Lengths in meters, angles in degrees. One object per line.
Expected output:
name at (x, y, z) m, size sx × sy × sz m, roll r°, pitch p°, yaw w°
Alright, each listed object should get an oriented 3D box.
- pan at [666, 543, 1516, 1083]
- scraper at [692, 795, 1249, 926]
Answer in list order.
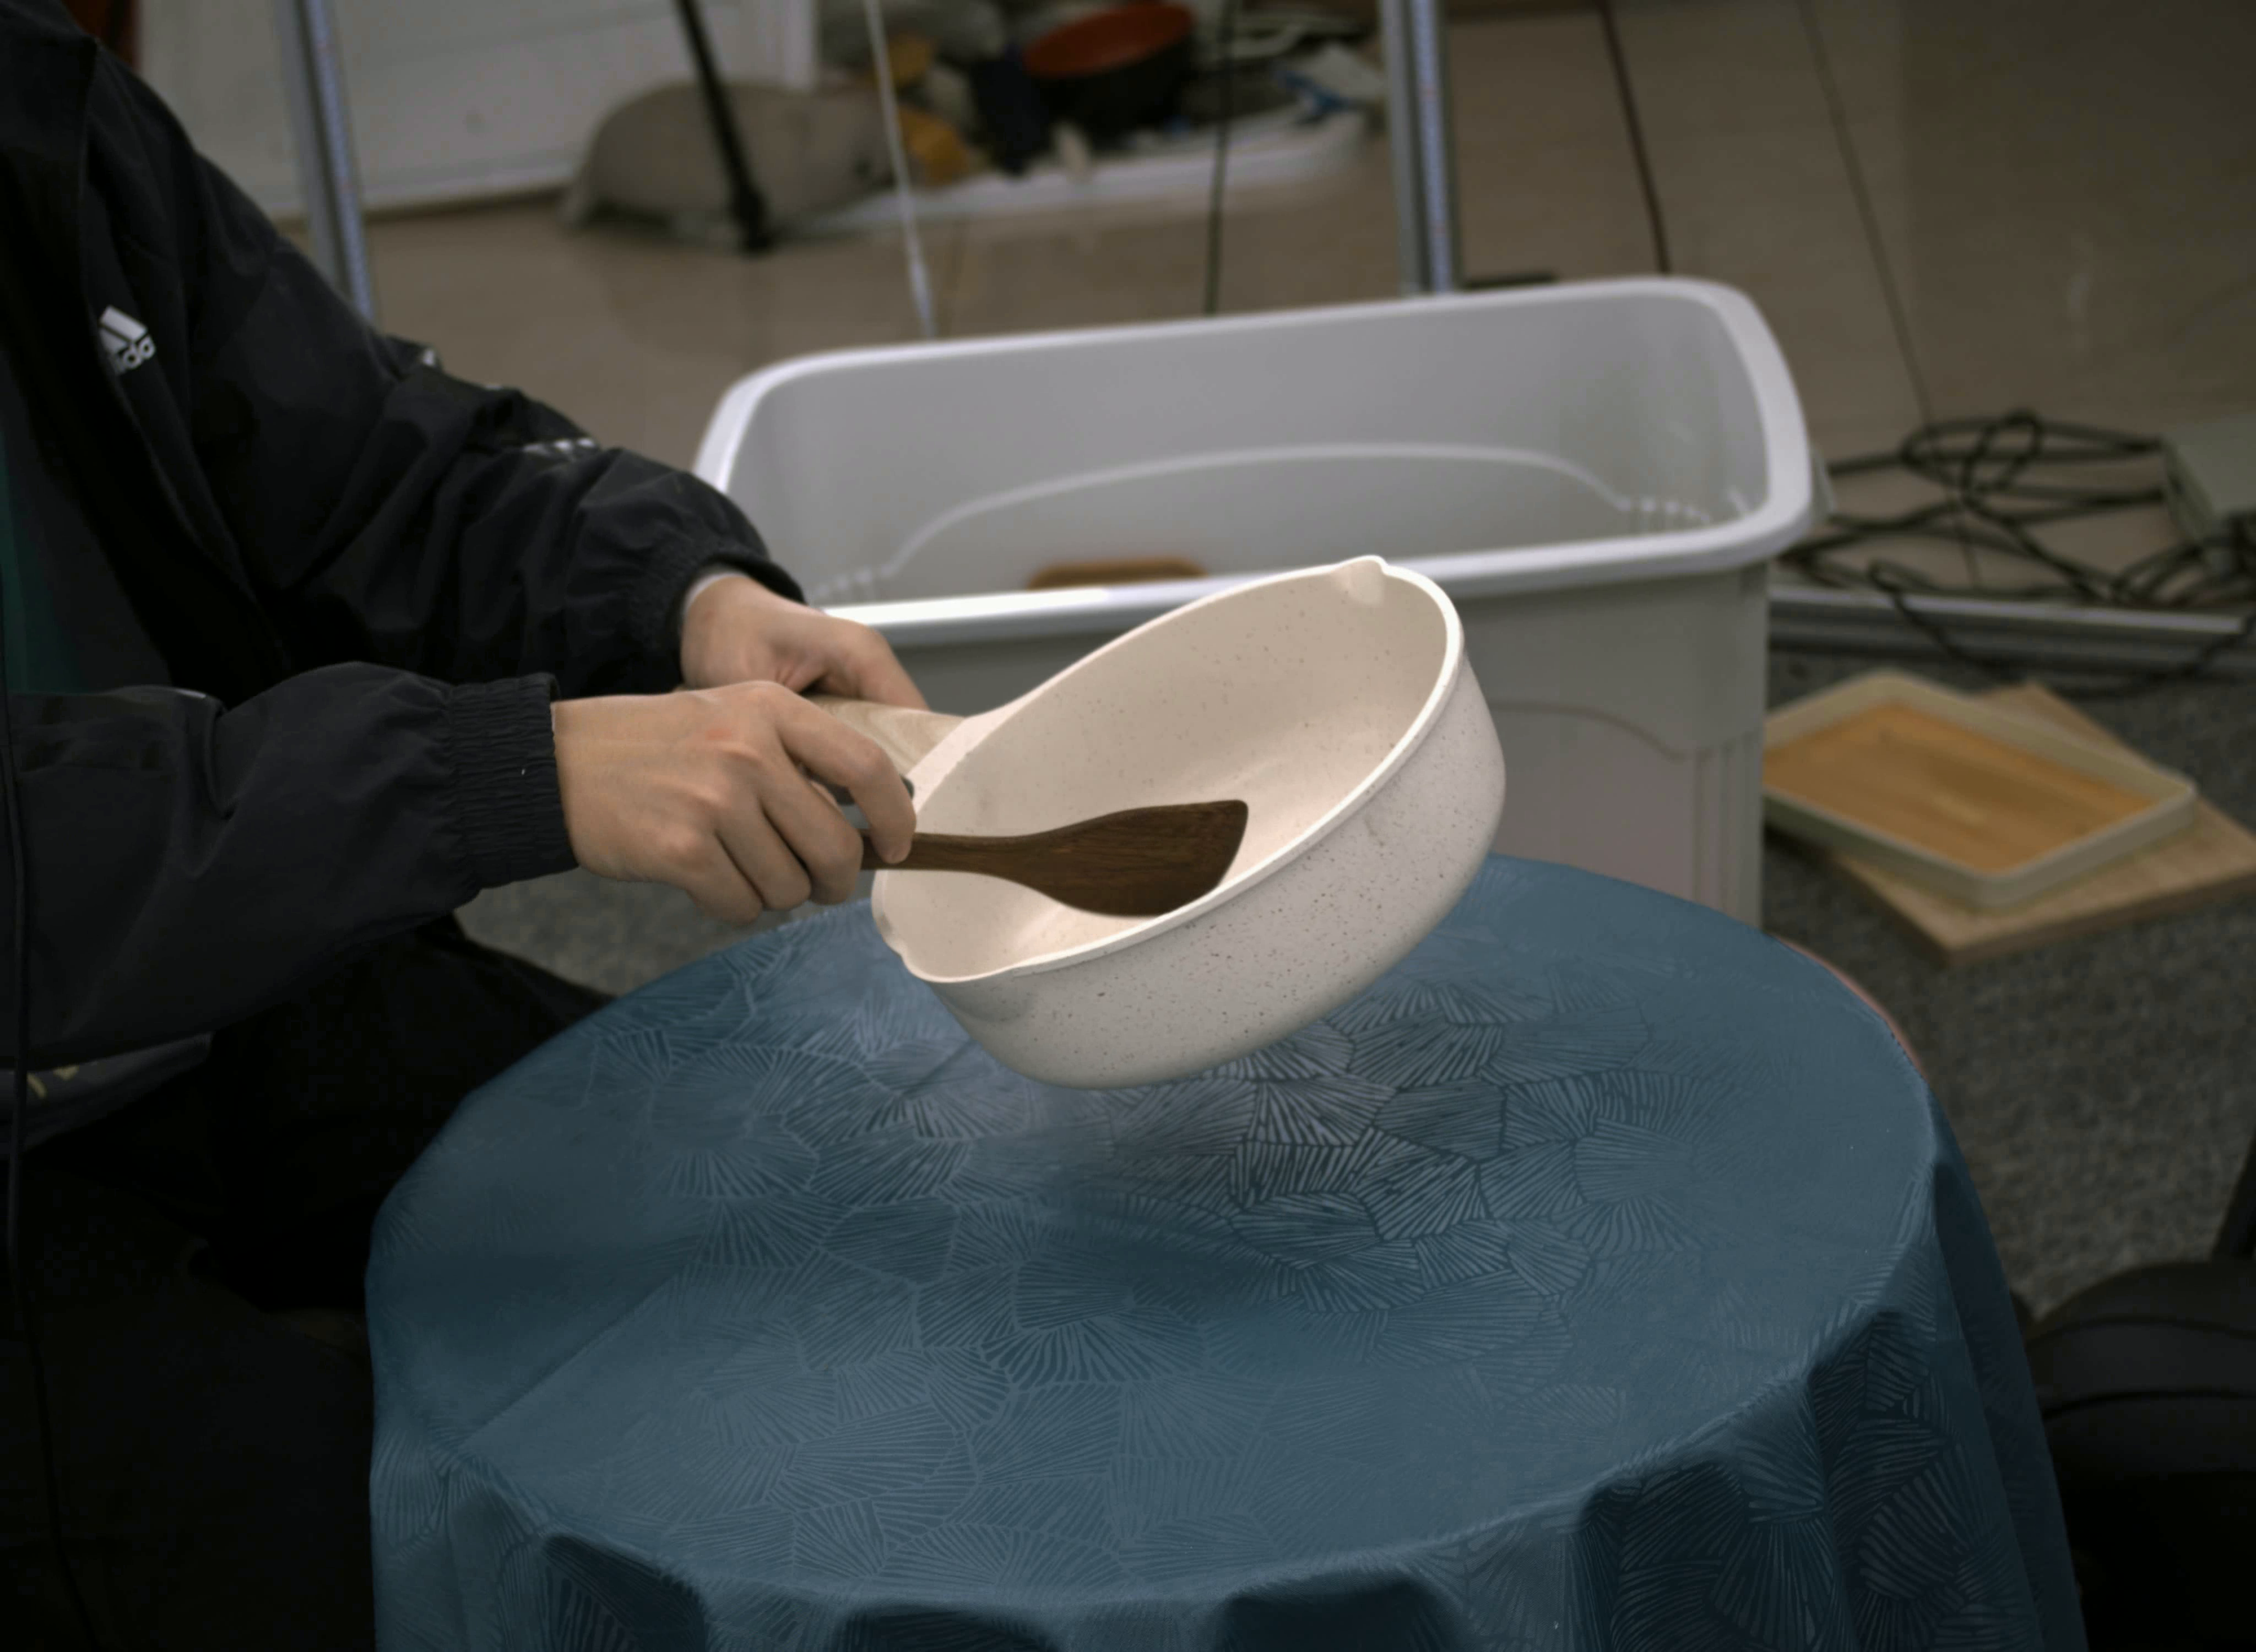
pan at (-0.027, -0.006, 2.226) m, size 0.433 × 0.103 × 0.260 m, roll 3°, pitch 43°, yaw 51°
scraper at (-0.060, 0.011, 2.136) m, size 0.211 × 0.077 × 0.010 m, roll 3°, pitch 52°, yaw -14°
